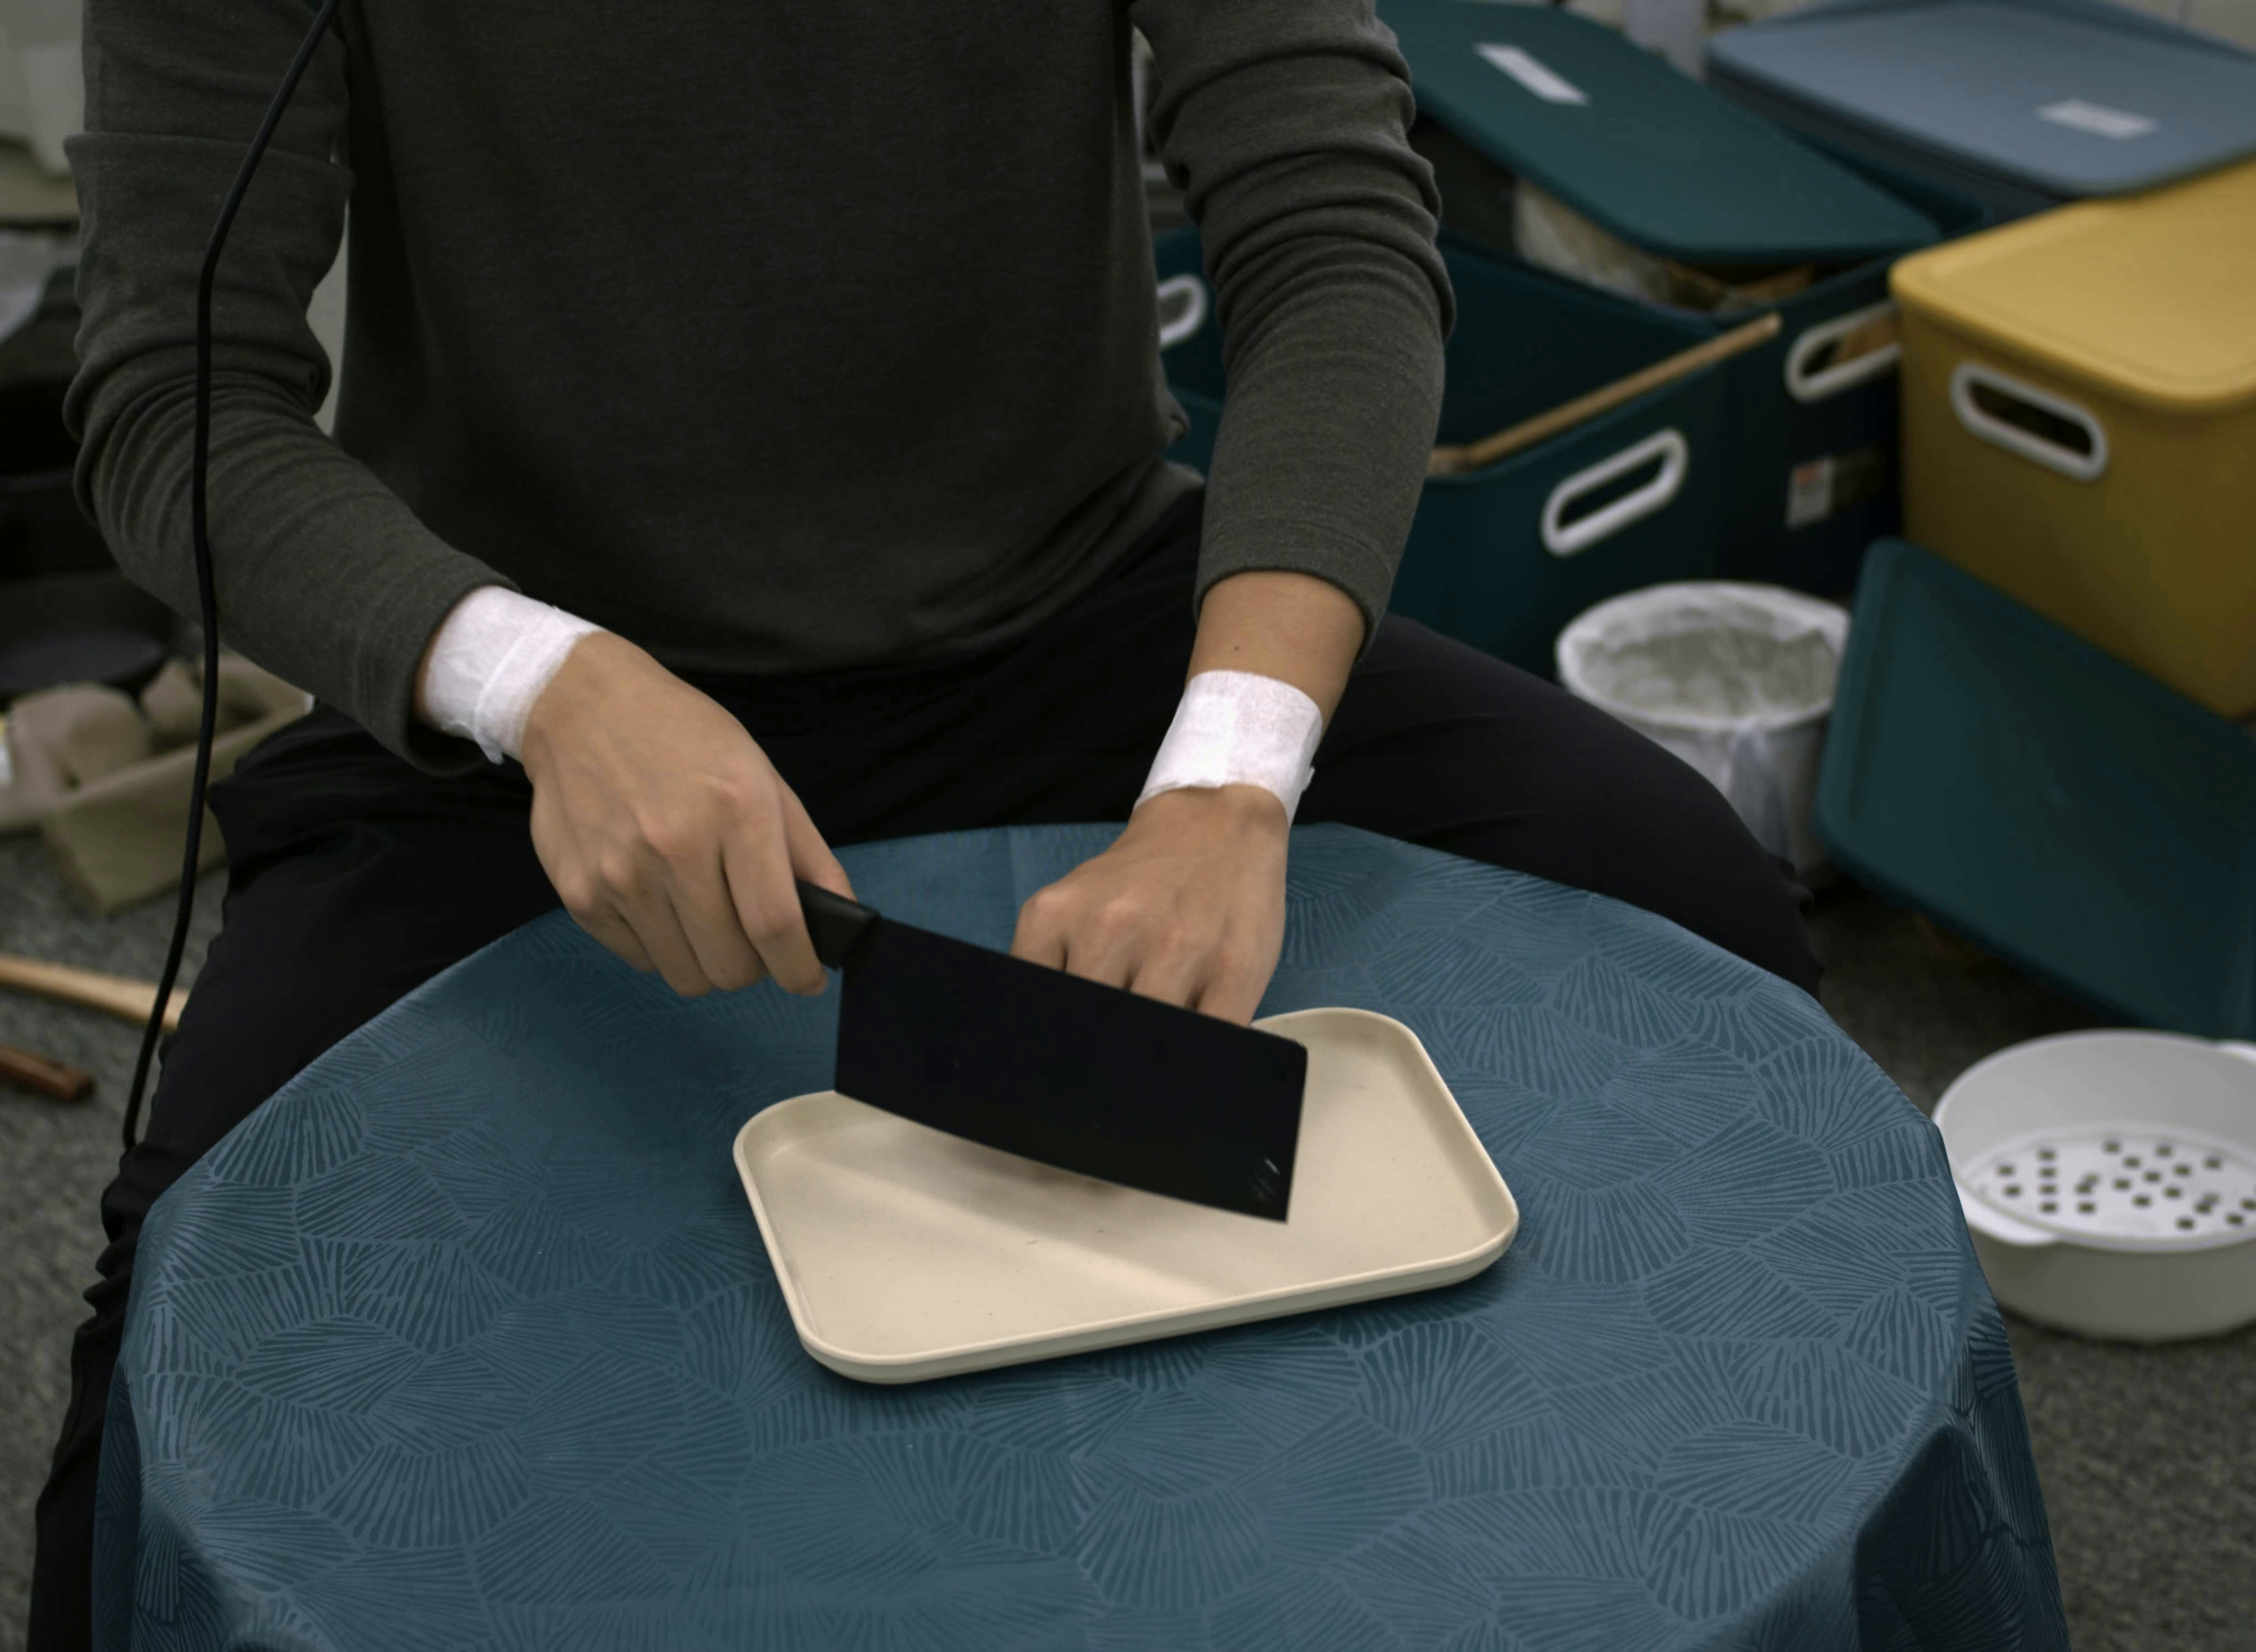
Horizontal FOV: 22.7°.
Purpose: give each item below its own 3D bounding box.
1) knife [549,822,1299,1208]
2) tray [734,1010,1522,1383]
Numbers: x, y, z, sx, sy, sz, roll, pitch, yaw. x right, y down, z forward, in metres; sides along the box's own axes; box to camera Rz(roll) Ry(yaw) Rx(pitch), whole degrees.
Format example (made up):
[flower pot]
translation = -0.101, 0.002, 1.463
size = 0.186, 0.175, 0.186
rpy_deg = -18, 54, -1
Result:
[knife]
translation = -0.071, 0.057, 1.841
size = 0.301, 0.080, 0.021
rpy_deg = 20, 18, 30
[tray]
translation = -0.002, 0.121, 1.842
size = 0.239, 0.017, 0.173
rpy_deg = -9, 27, -12
